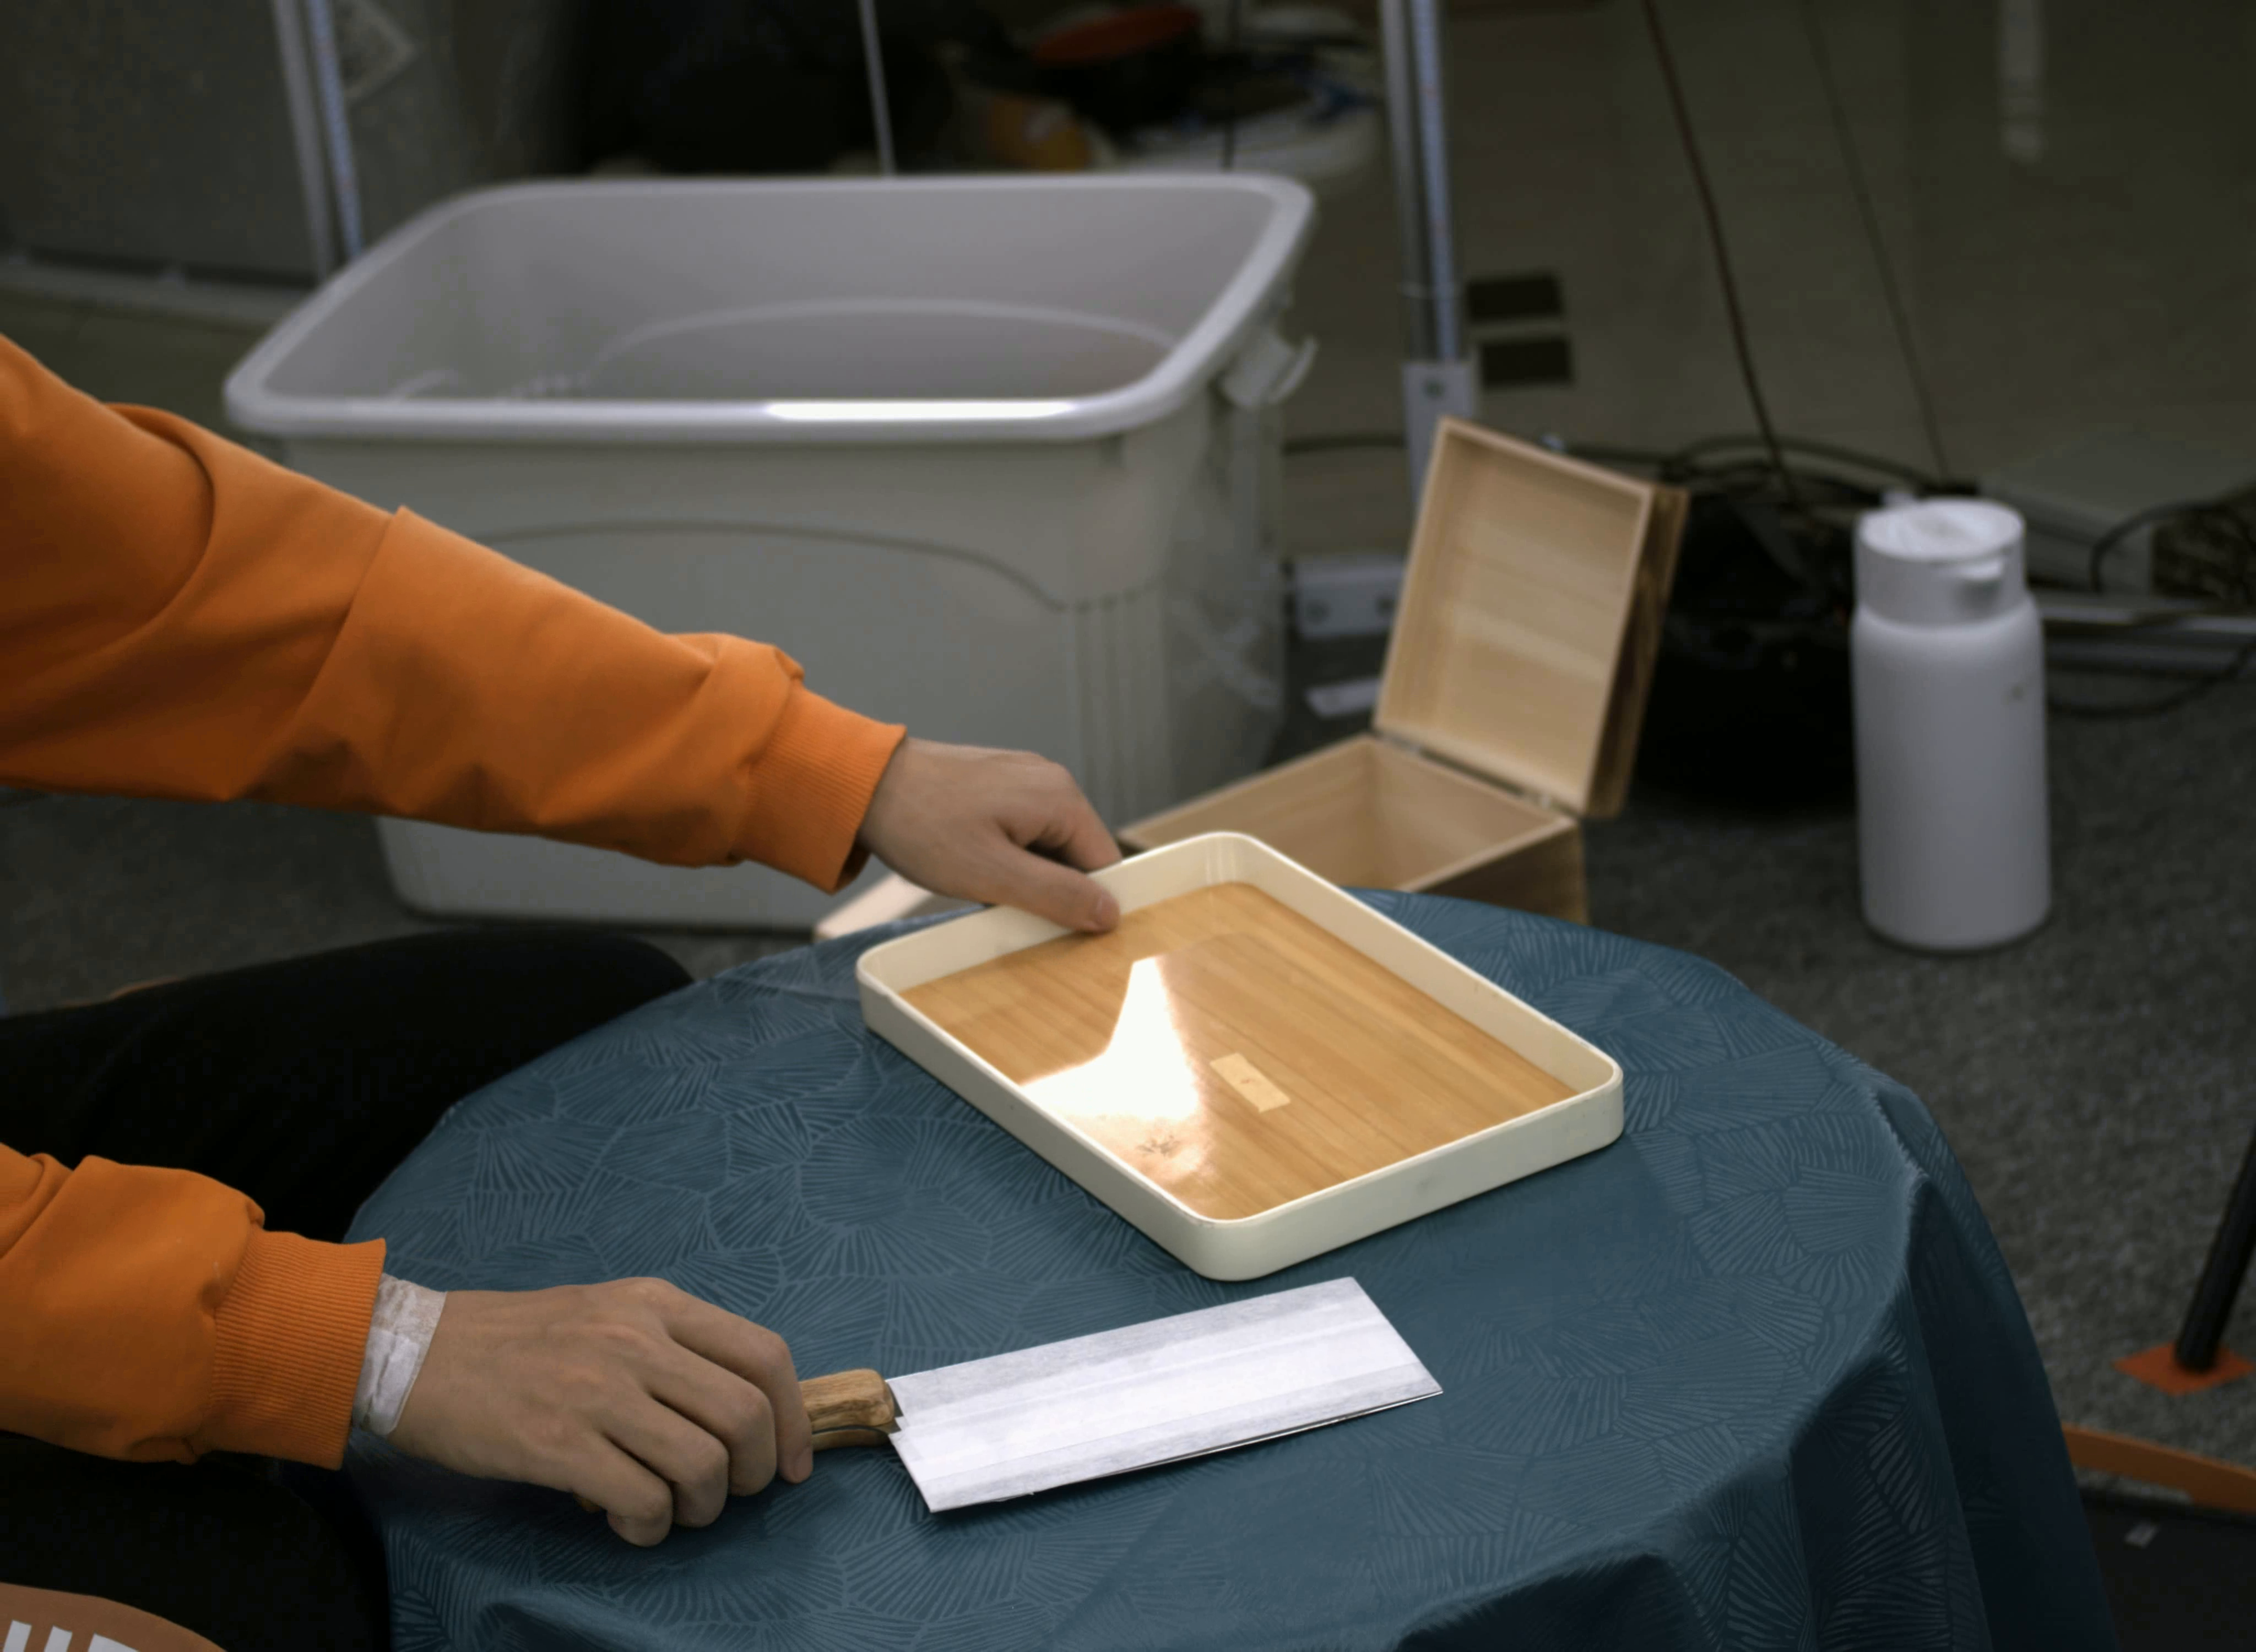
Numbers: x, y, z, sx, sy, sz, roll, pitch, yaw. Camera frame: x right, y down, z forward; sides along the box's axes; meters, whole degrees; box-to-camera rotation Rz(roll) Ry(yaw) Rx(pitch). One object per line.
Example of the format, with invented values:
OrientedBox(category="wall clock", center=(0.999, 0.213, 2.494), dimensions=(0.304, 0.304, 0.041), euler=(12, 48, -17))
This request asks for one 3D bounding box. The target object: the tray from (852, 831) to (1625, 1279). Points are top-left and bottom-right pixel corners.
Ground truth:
OrientedBox(category="tray", center=(0.039, 0.085, 2.219), dimensions=(0.190, 0.028, 0.297), euler=(-19, 28, -25))

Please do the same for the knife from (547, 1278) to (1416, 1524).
OrientedBox(category="knife", center=(-0.048, 0.209, 1.990), dimensions=(0.305, 0.021, 0.091), euler=(-11, 27, -16))
